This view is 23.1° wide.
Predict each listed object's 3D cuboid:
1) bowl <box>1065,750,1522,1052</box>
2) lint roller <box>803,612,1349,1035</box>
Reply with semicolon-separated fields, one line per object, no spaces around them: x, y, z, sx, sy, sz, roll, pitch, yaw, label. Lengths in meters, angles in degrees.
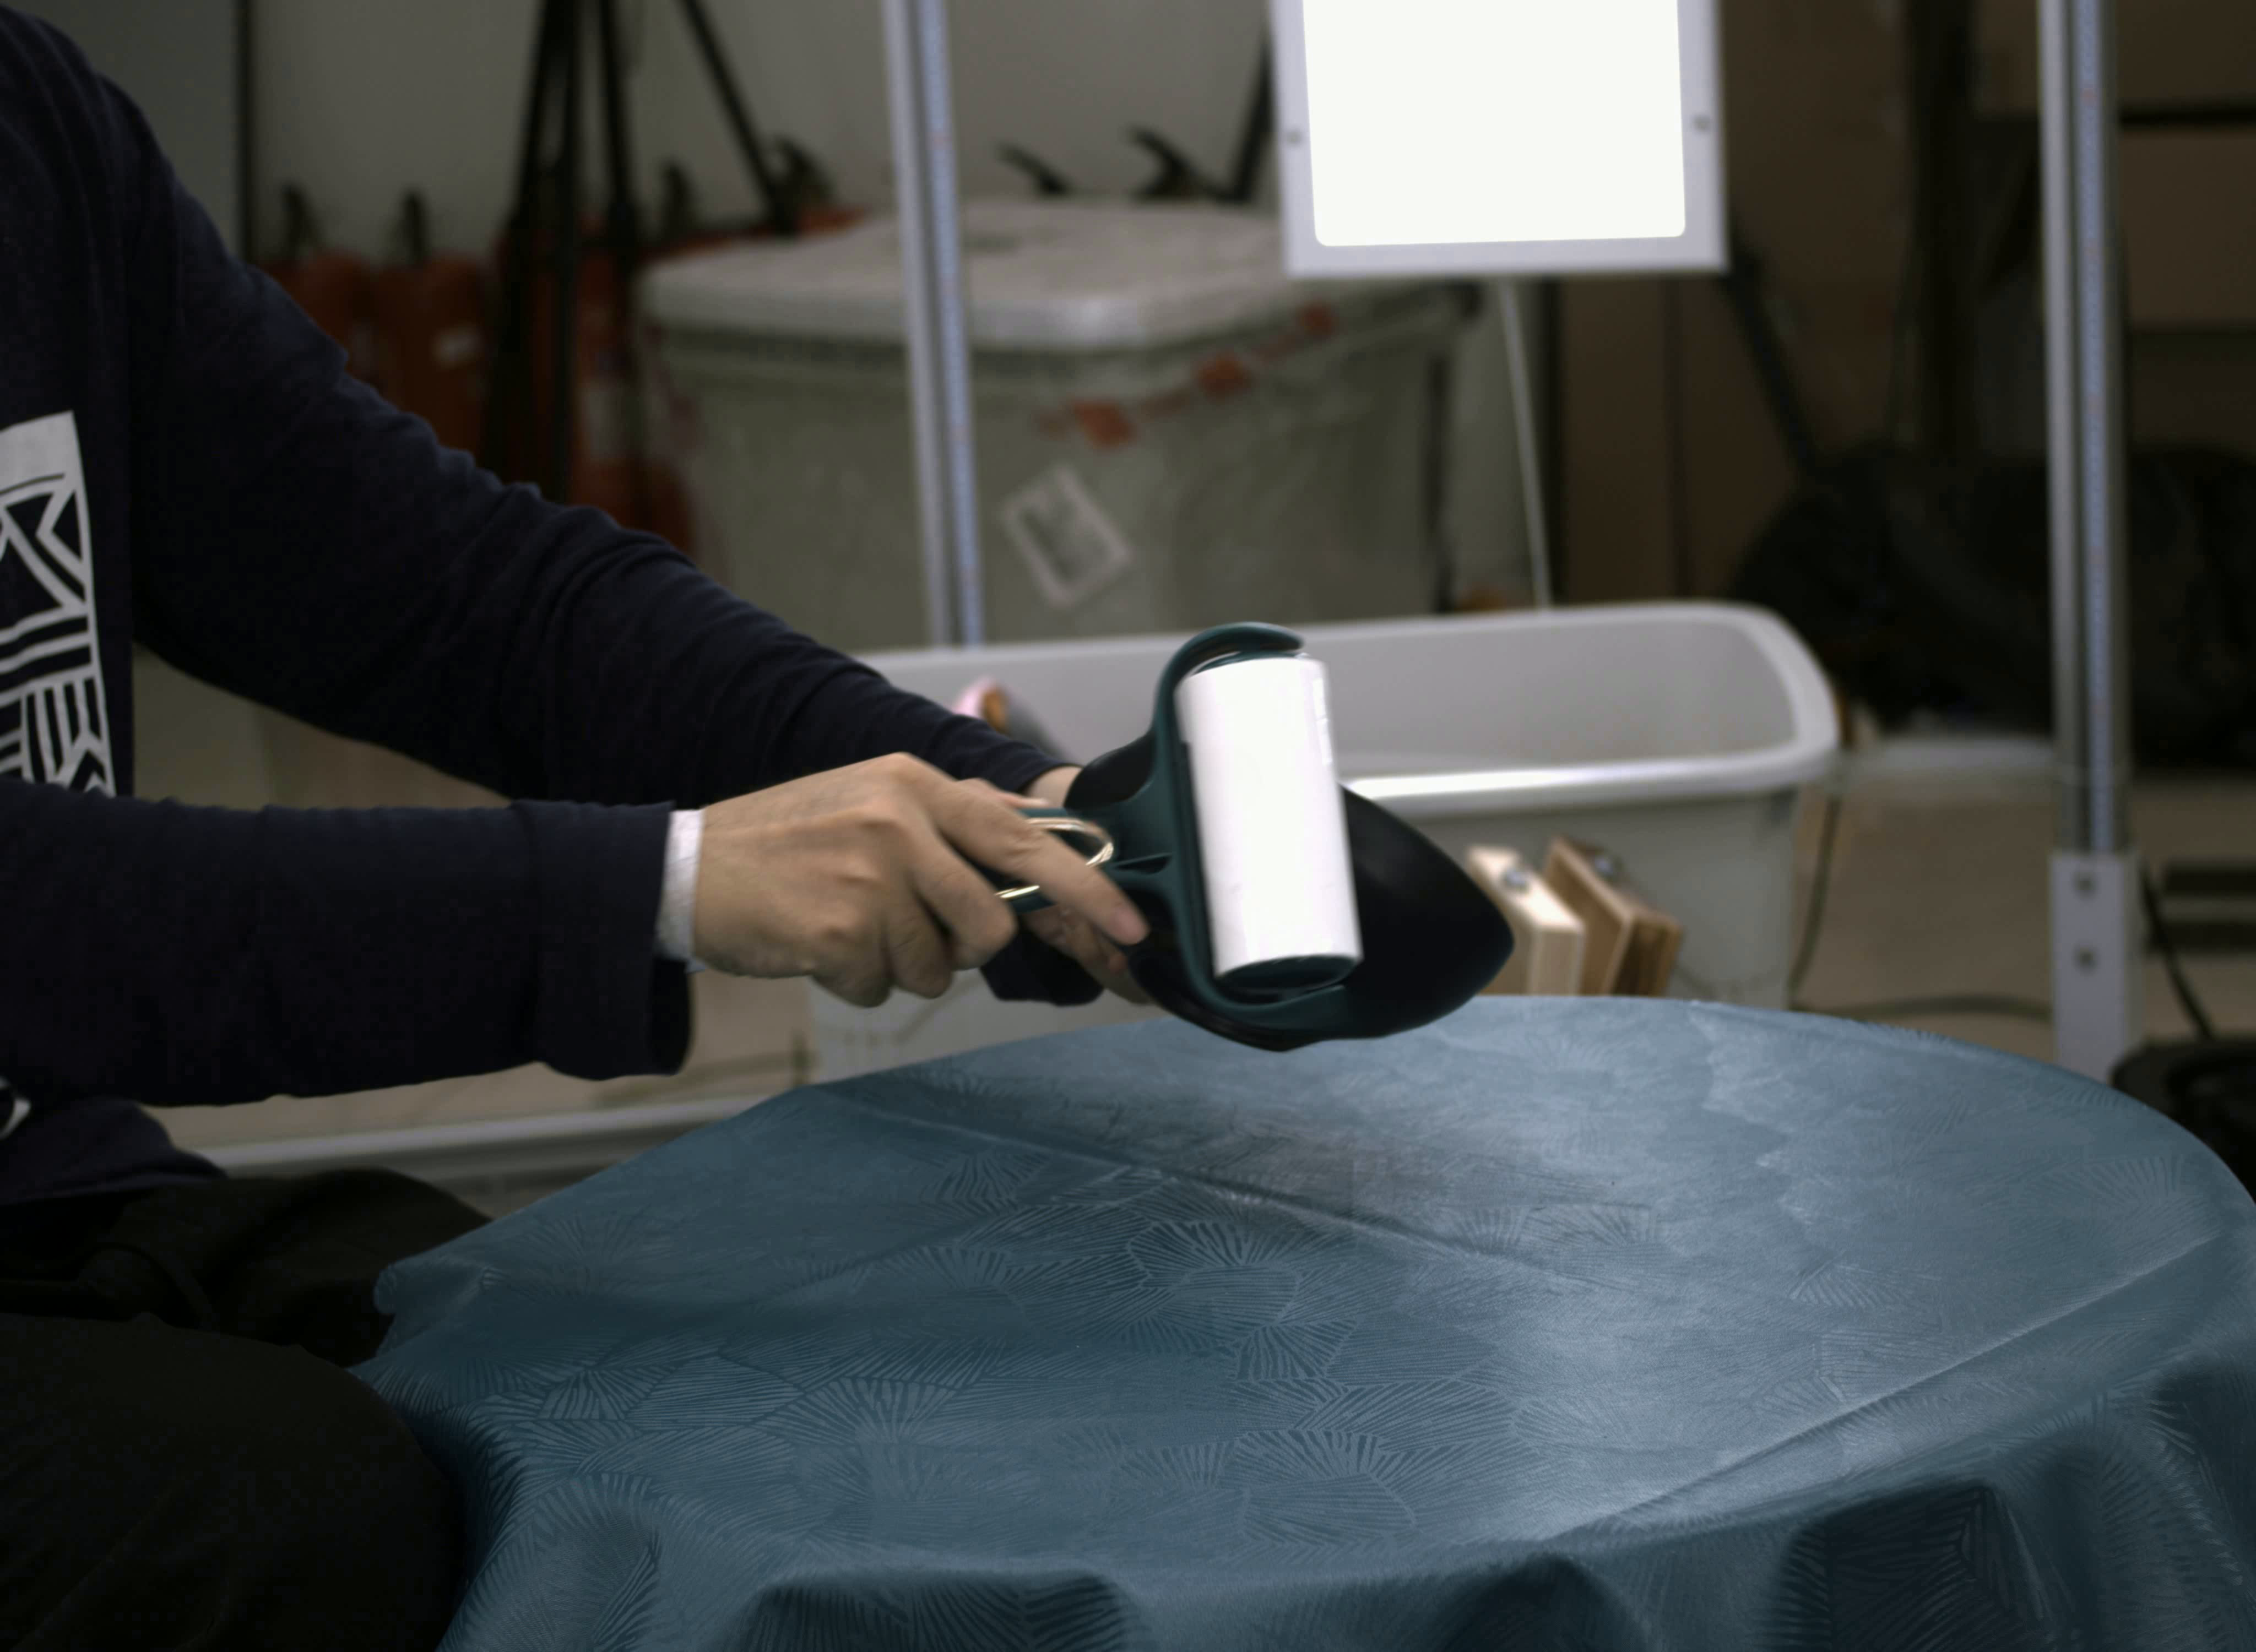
0.047;0.033;1.874;0.173;0.066;0.136;14;-24;28;bowl
-0.022;0.010;1.804;0.181;0.134;0.048;-9;-12;8;lint roller
